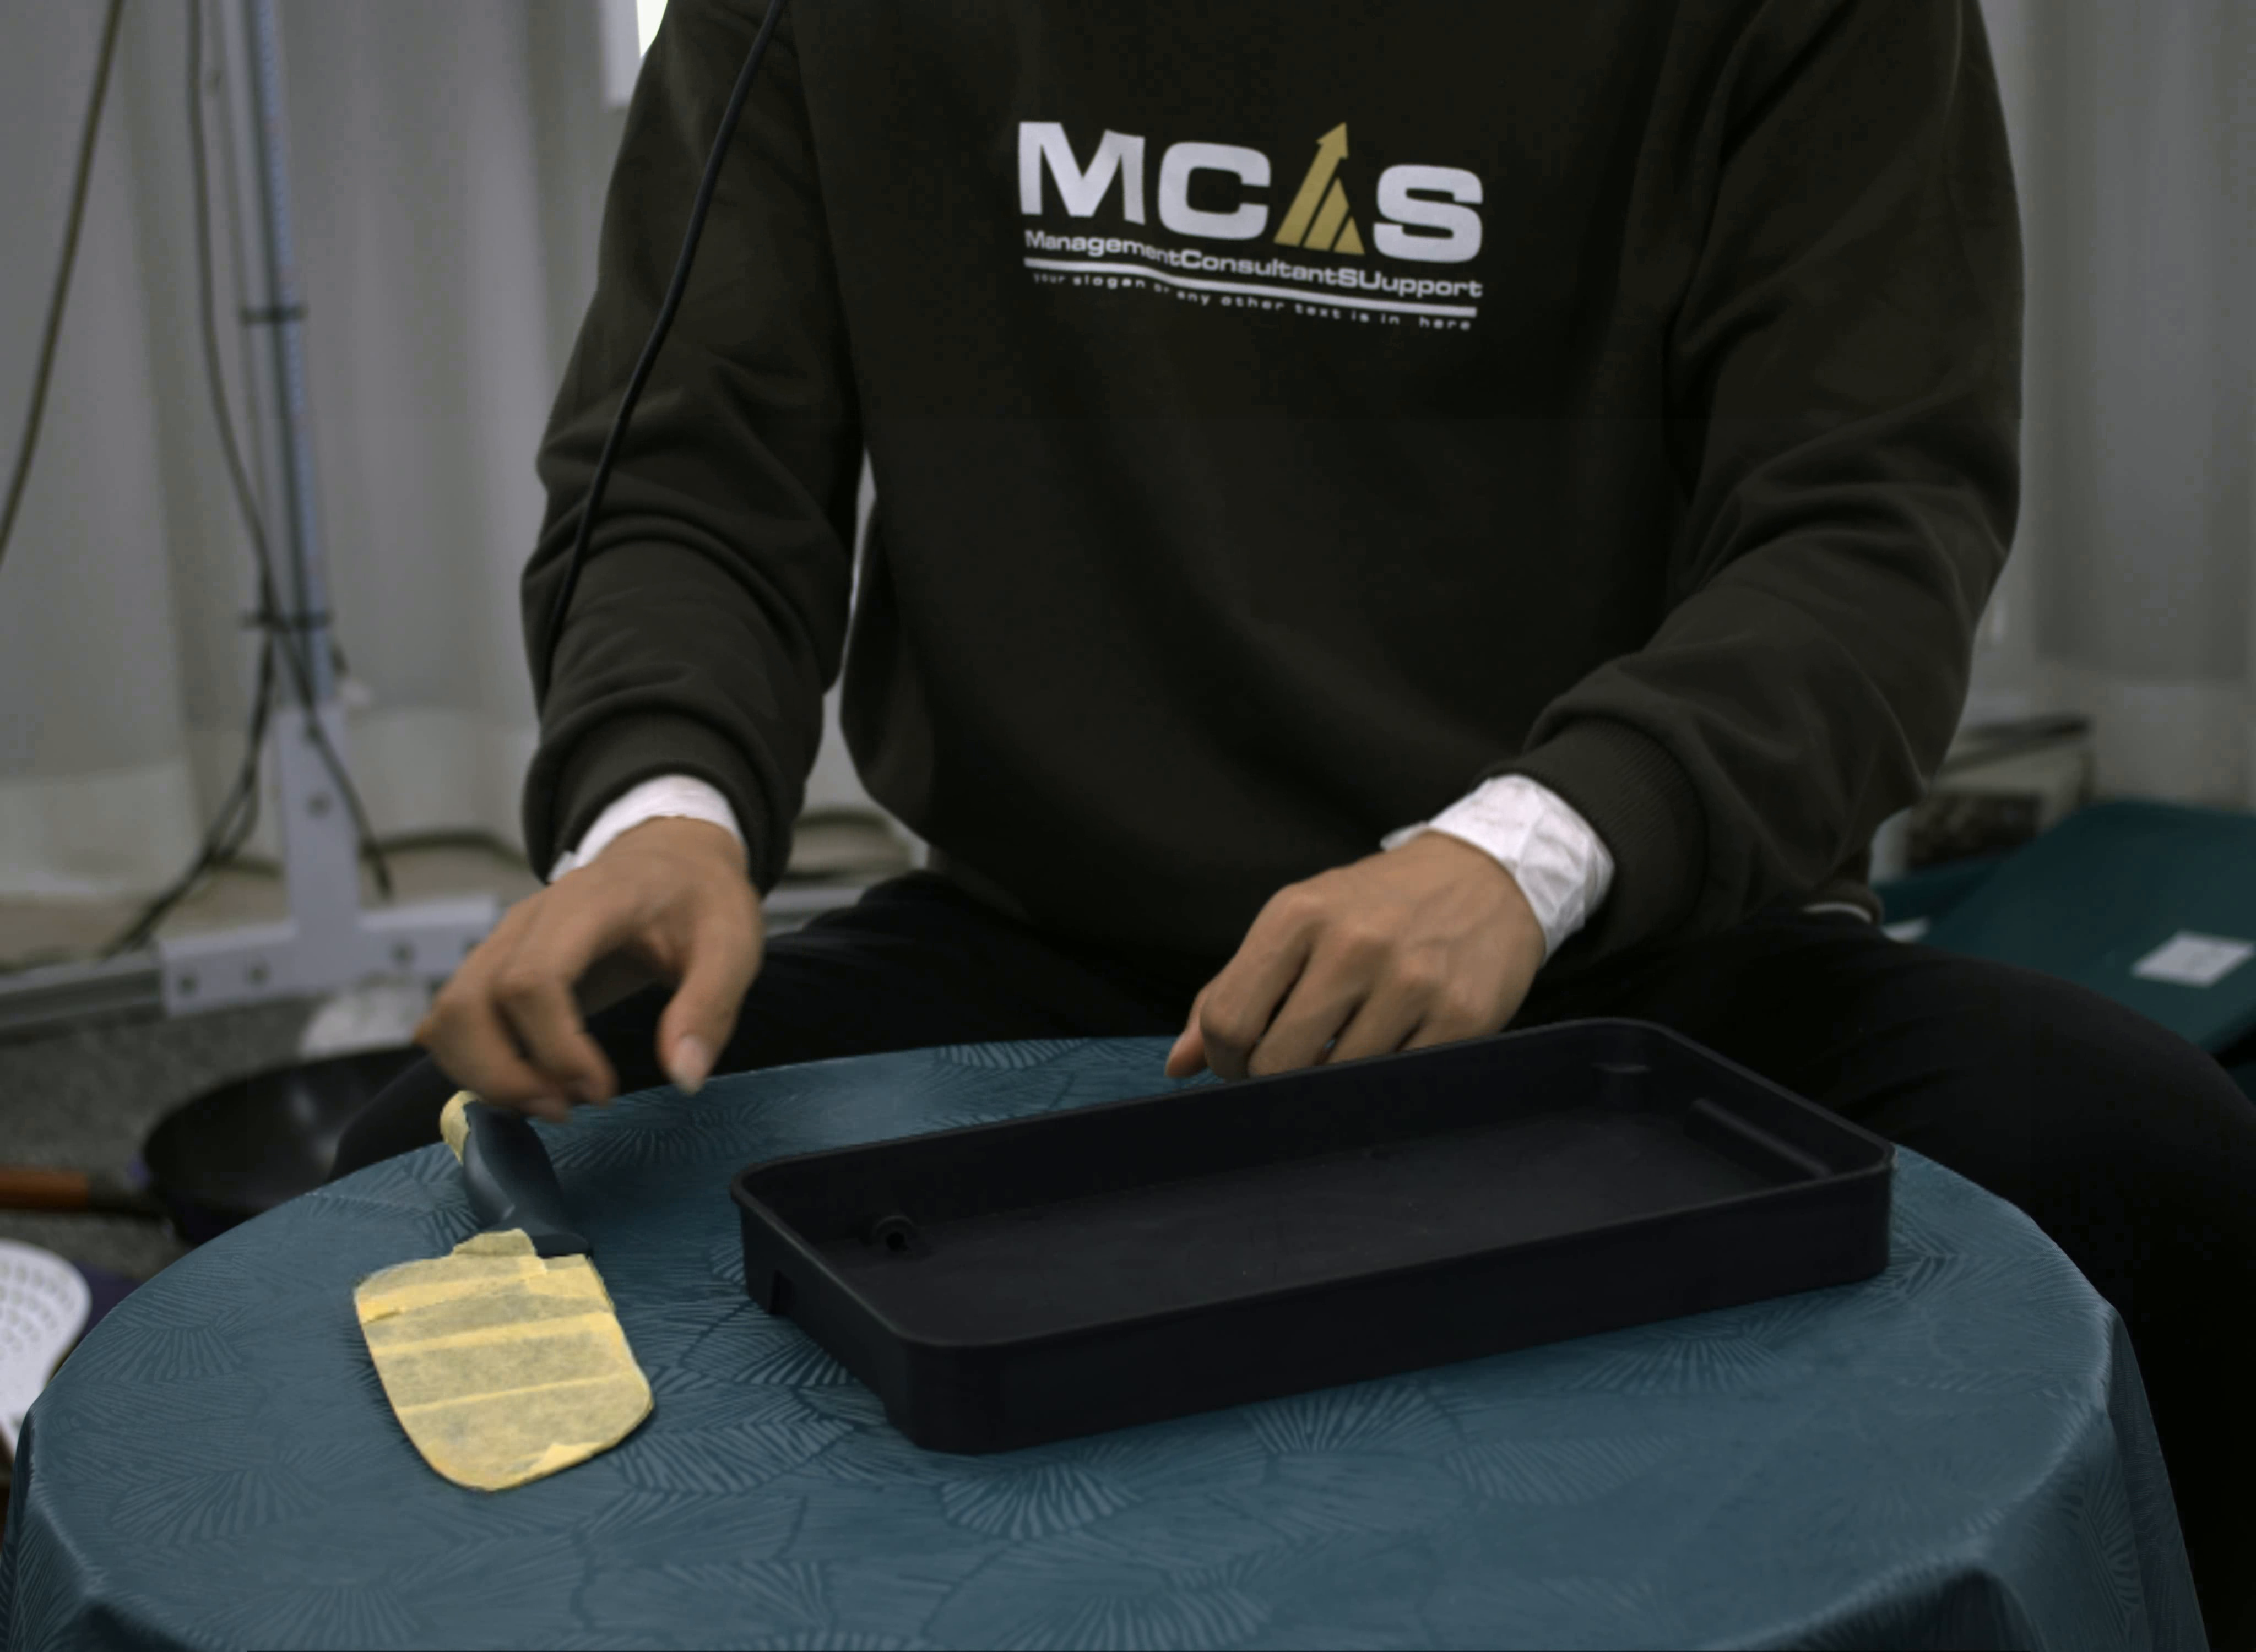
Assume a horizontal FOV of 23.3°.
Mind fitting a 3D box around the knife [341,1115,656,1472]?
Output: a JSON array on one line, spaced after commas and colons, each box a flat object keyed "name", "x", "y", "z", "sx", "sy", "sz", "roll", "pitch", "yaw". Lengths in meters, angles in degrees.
[{"name": "knife", "x": -0.193, "y": 0.139, "z": 1.632, "sx": 0.080, "sy": 0.027, "sz": 0.292, "roll": -4, "pitch": 16, "yaw": -11}]

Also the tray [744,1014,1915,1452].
[{"name": "tray", "x": 0.060, "y": 0.116, "z": 1.630, "sx": 0.316, "sy": 0.037, "sz": 0.185, "roll": -9, "pitch": 15, "yaw": -23}]
